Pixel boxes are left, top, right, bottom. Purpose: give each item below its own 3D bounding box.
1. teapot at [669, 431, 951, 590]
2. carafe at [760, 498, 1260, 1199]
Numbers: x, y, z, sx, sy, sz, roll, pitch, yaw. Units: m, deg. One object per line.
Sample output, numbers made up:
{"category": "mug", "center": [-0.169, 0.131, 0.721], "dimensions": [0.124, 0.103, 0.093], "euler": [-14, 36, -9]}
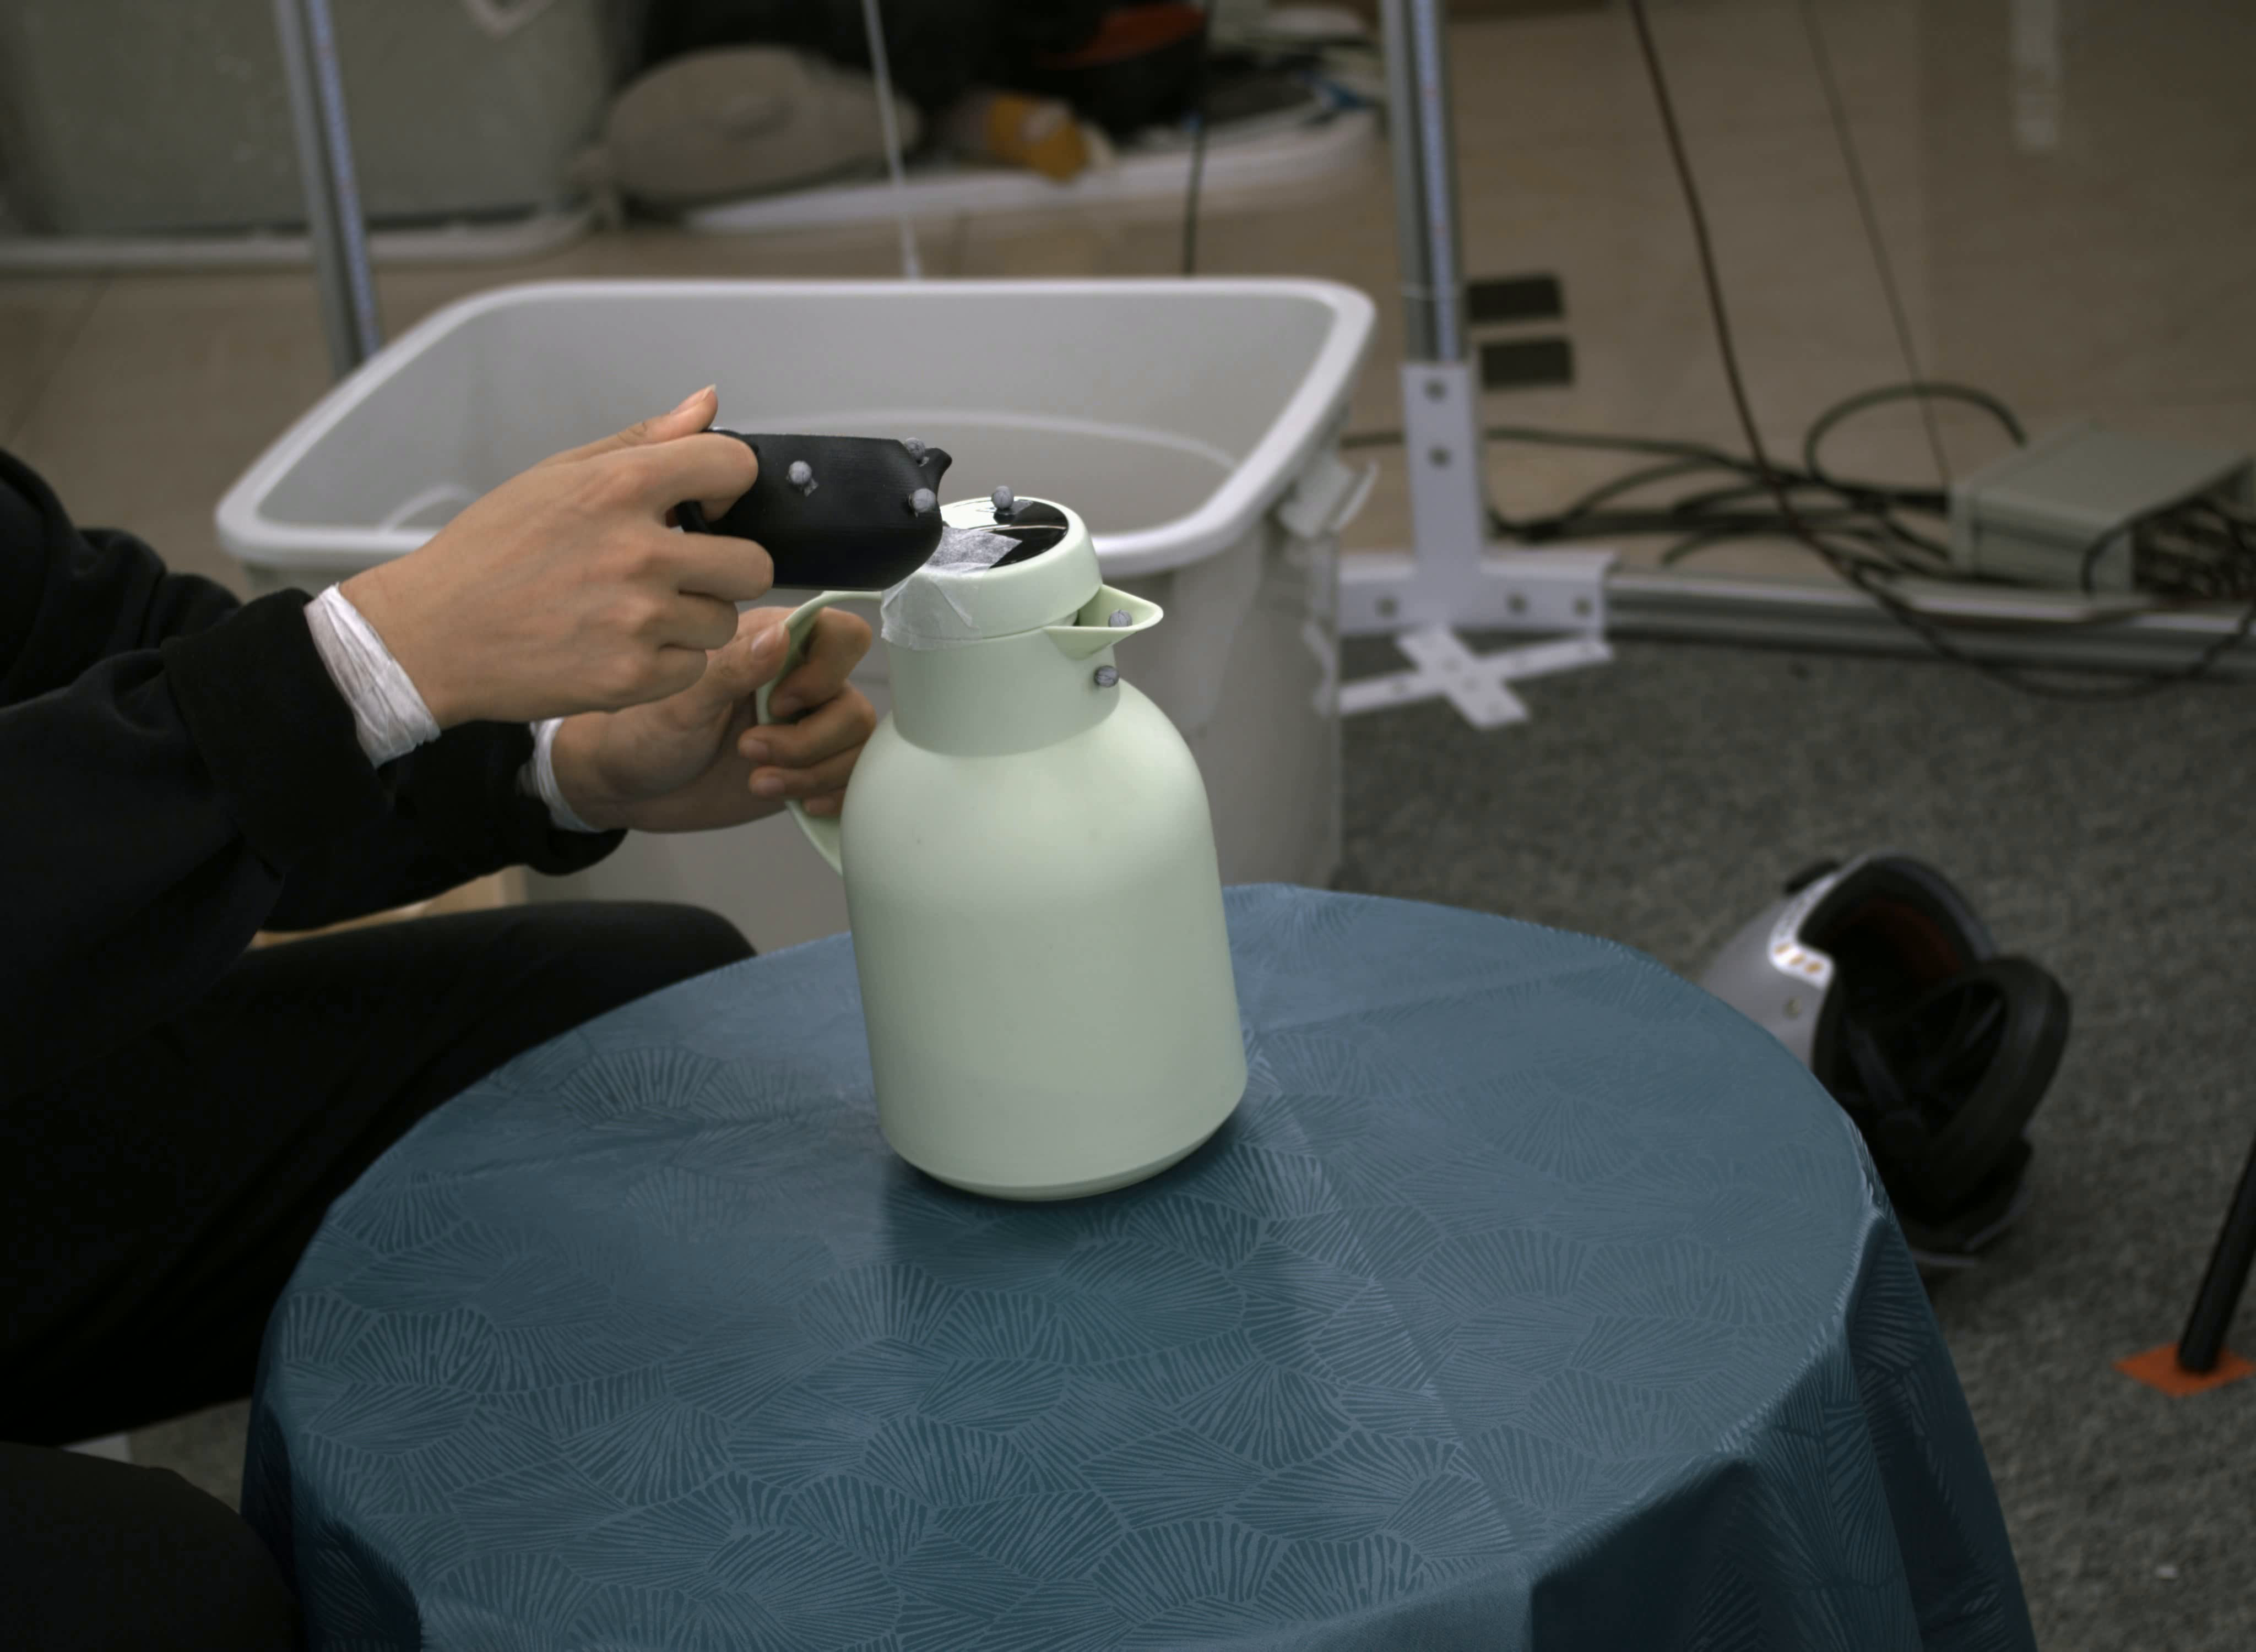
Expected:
{"category": "teapot", "center": [-0.111, -0.110, 1.978], "dimensions": [0.090, 0.053, 0.133], "euler": [2, 1, 42]}
{"category": "carafe", "center": [-0.049, 0.002, 2.152], "dimensions": [0.186, 0.261, 0.142], "euler": [7, 33, 33]}
